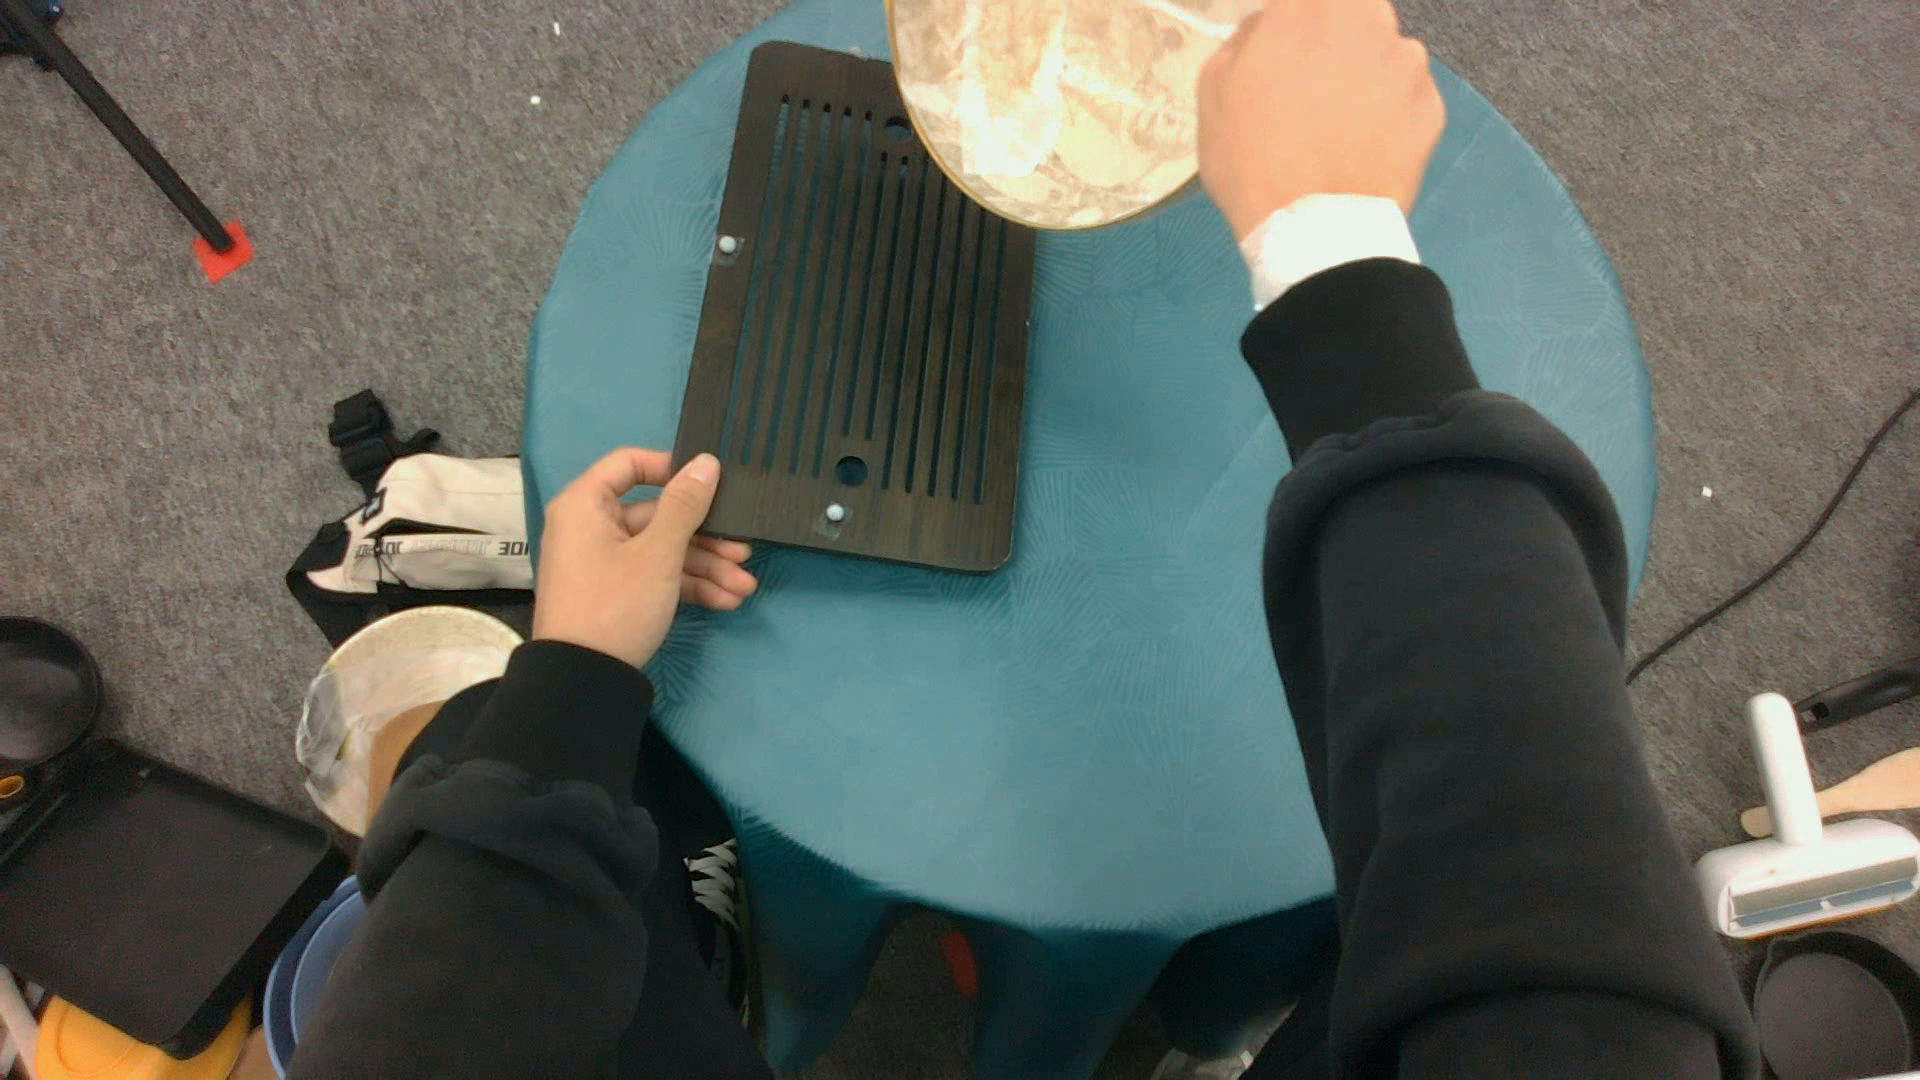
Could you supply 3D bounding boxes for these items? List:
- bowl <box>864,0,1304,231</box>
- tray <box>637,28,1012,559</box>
[{"bbox_3d":[0.066,-0.242,0.612,0.214,0.095,0.214,4,98,32],"label":"bowl"},{"bbox_3d":[-0.060,-0.138,0.726,0.170,0.018,0.307,8,65,-8],"label":"tray"}]
